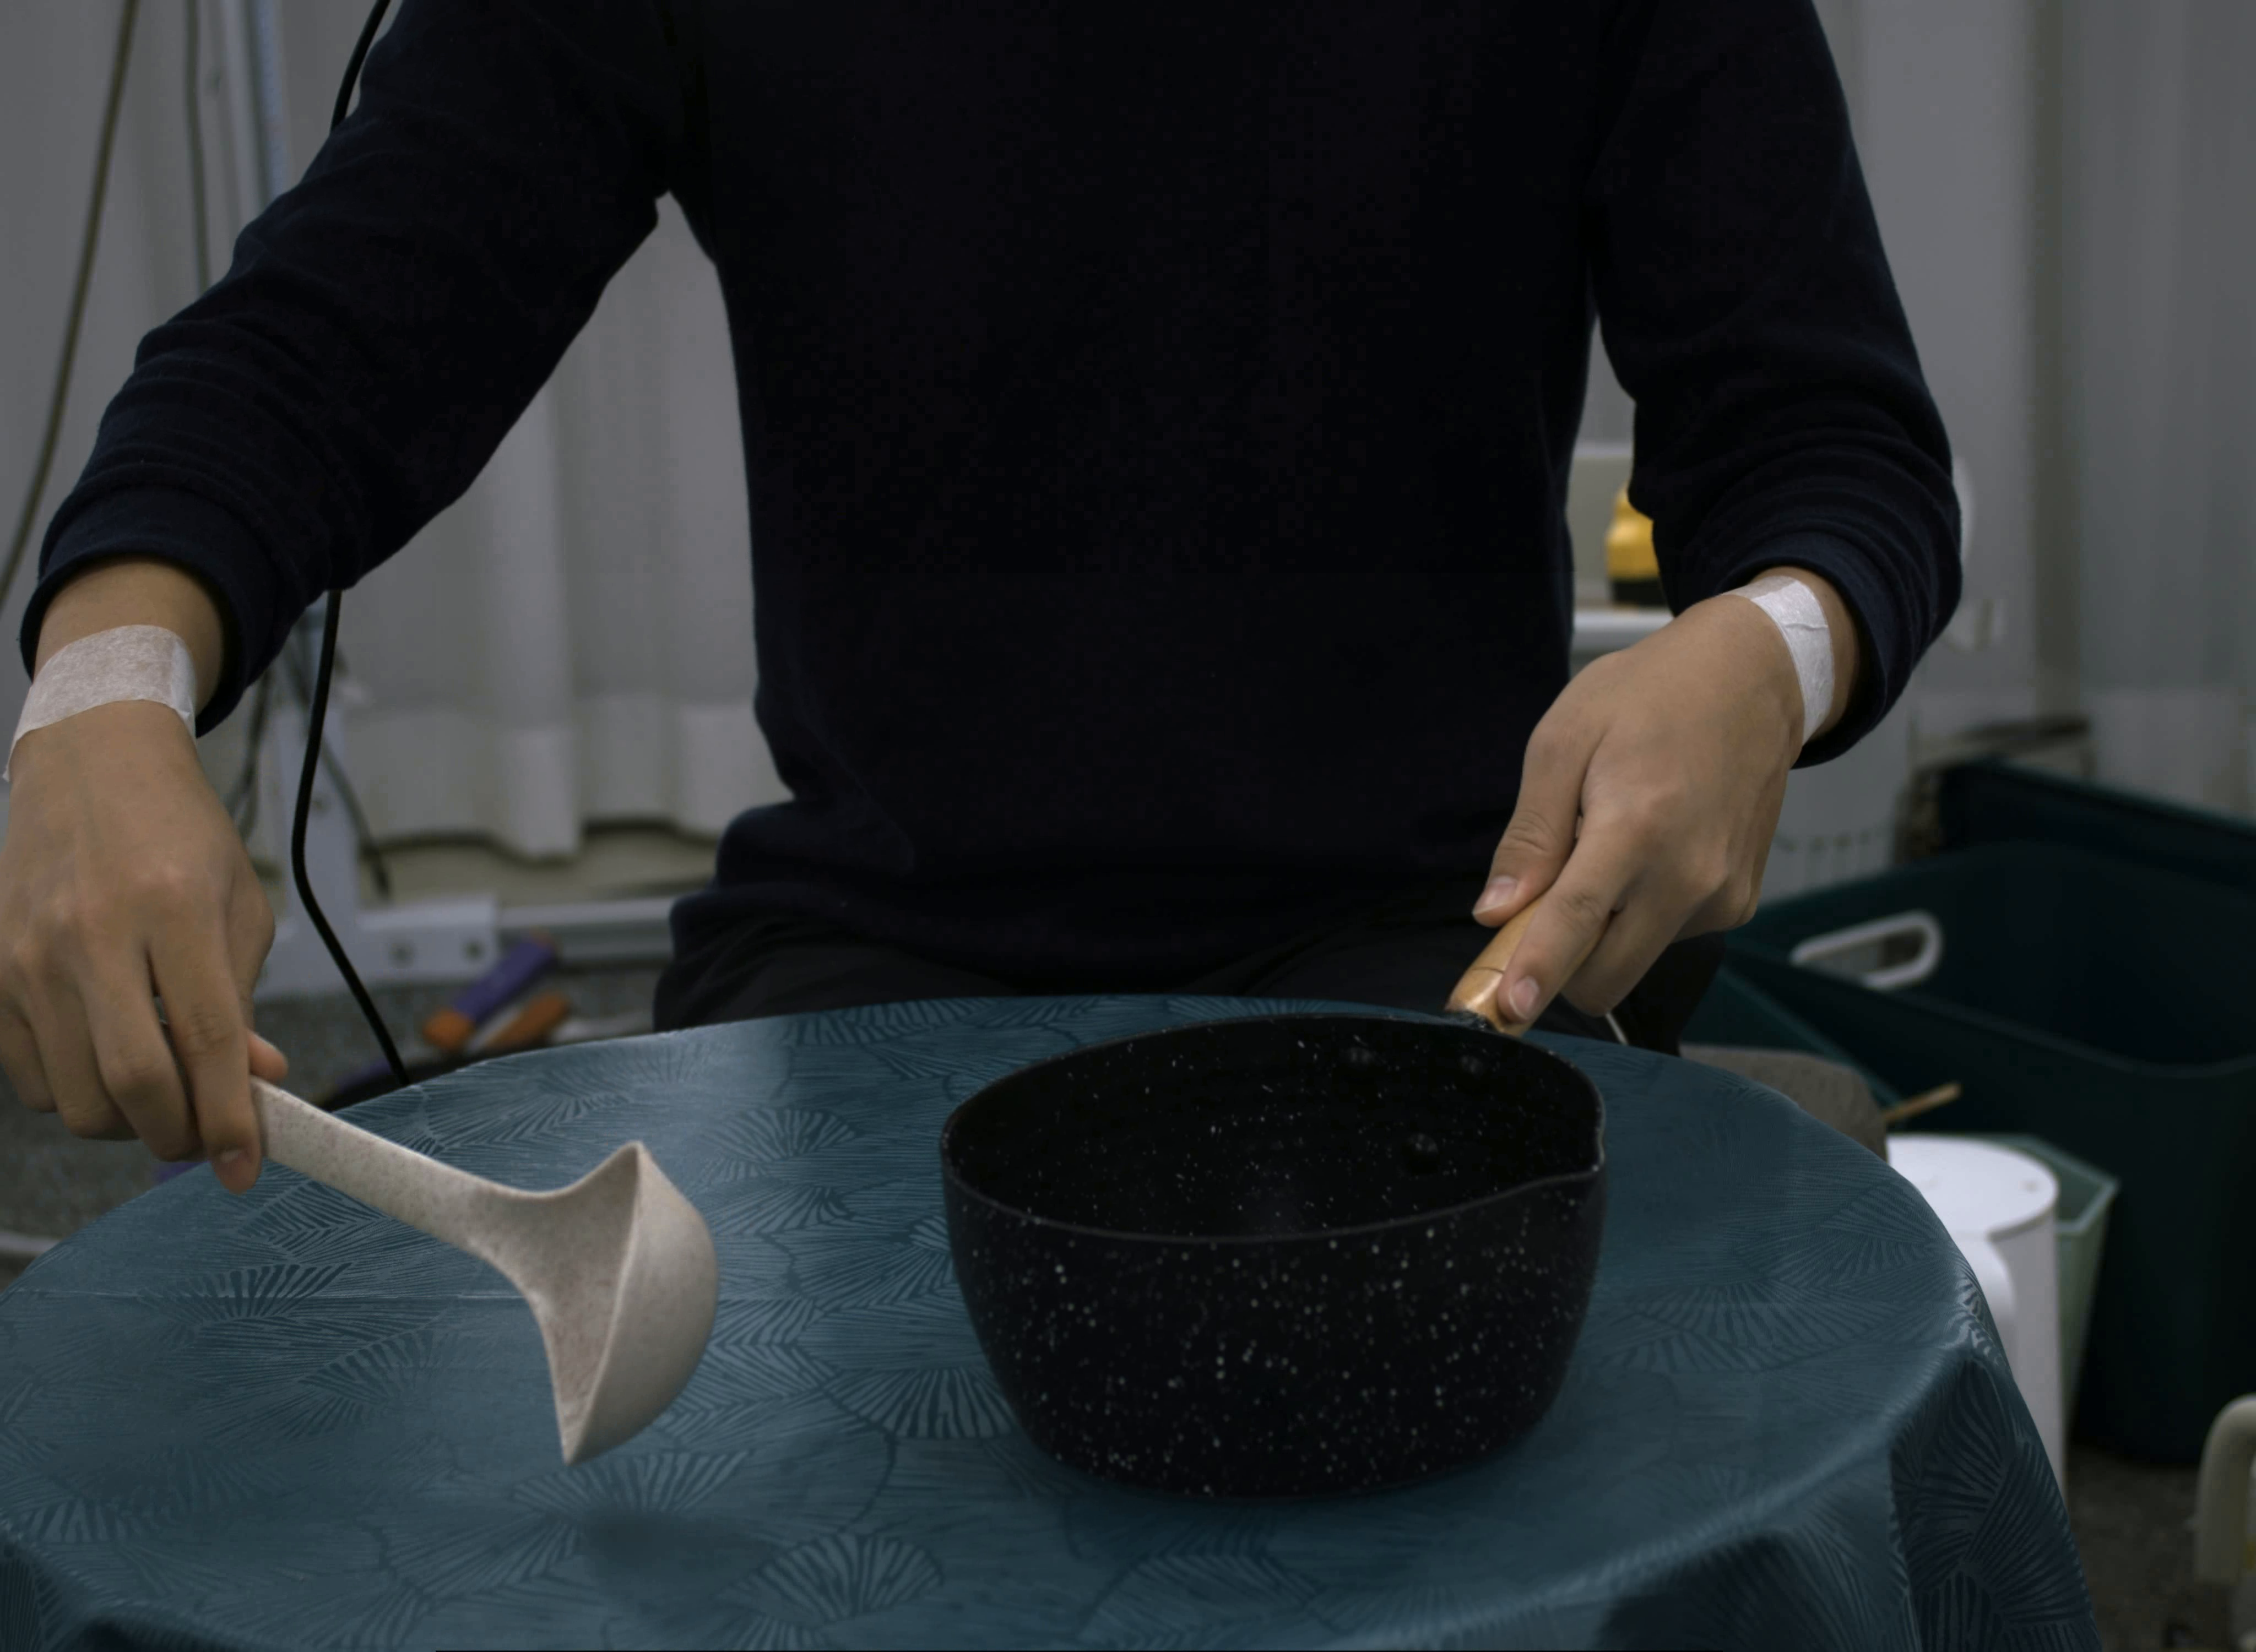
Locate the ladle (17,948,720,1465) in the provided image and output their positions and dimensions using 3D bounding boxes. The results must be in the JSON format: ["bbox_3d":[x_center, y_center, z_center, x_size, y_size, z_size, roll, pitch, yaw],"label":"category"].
[{"bbox_3d":[-0.227,0.091,1.508,0.276,0.089,0.069,22,19,28],"label":"ladle"}]

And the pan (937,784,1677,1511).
[{"bbox_3d":[0.079,0.088,1.579,0.208,0.107,0.344,4,19,29],"label":"pan"}]
